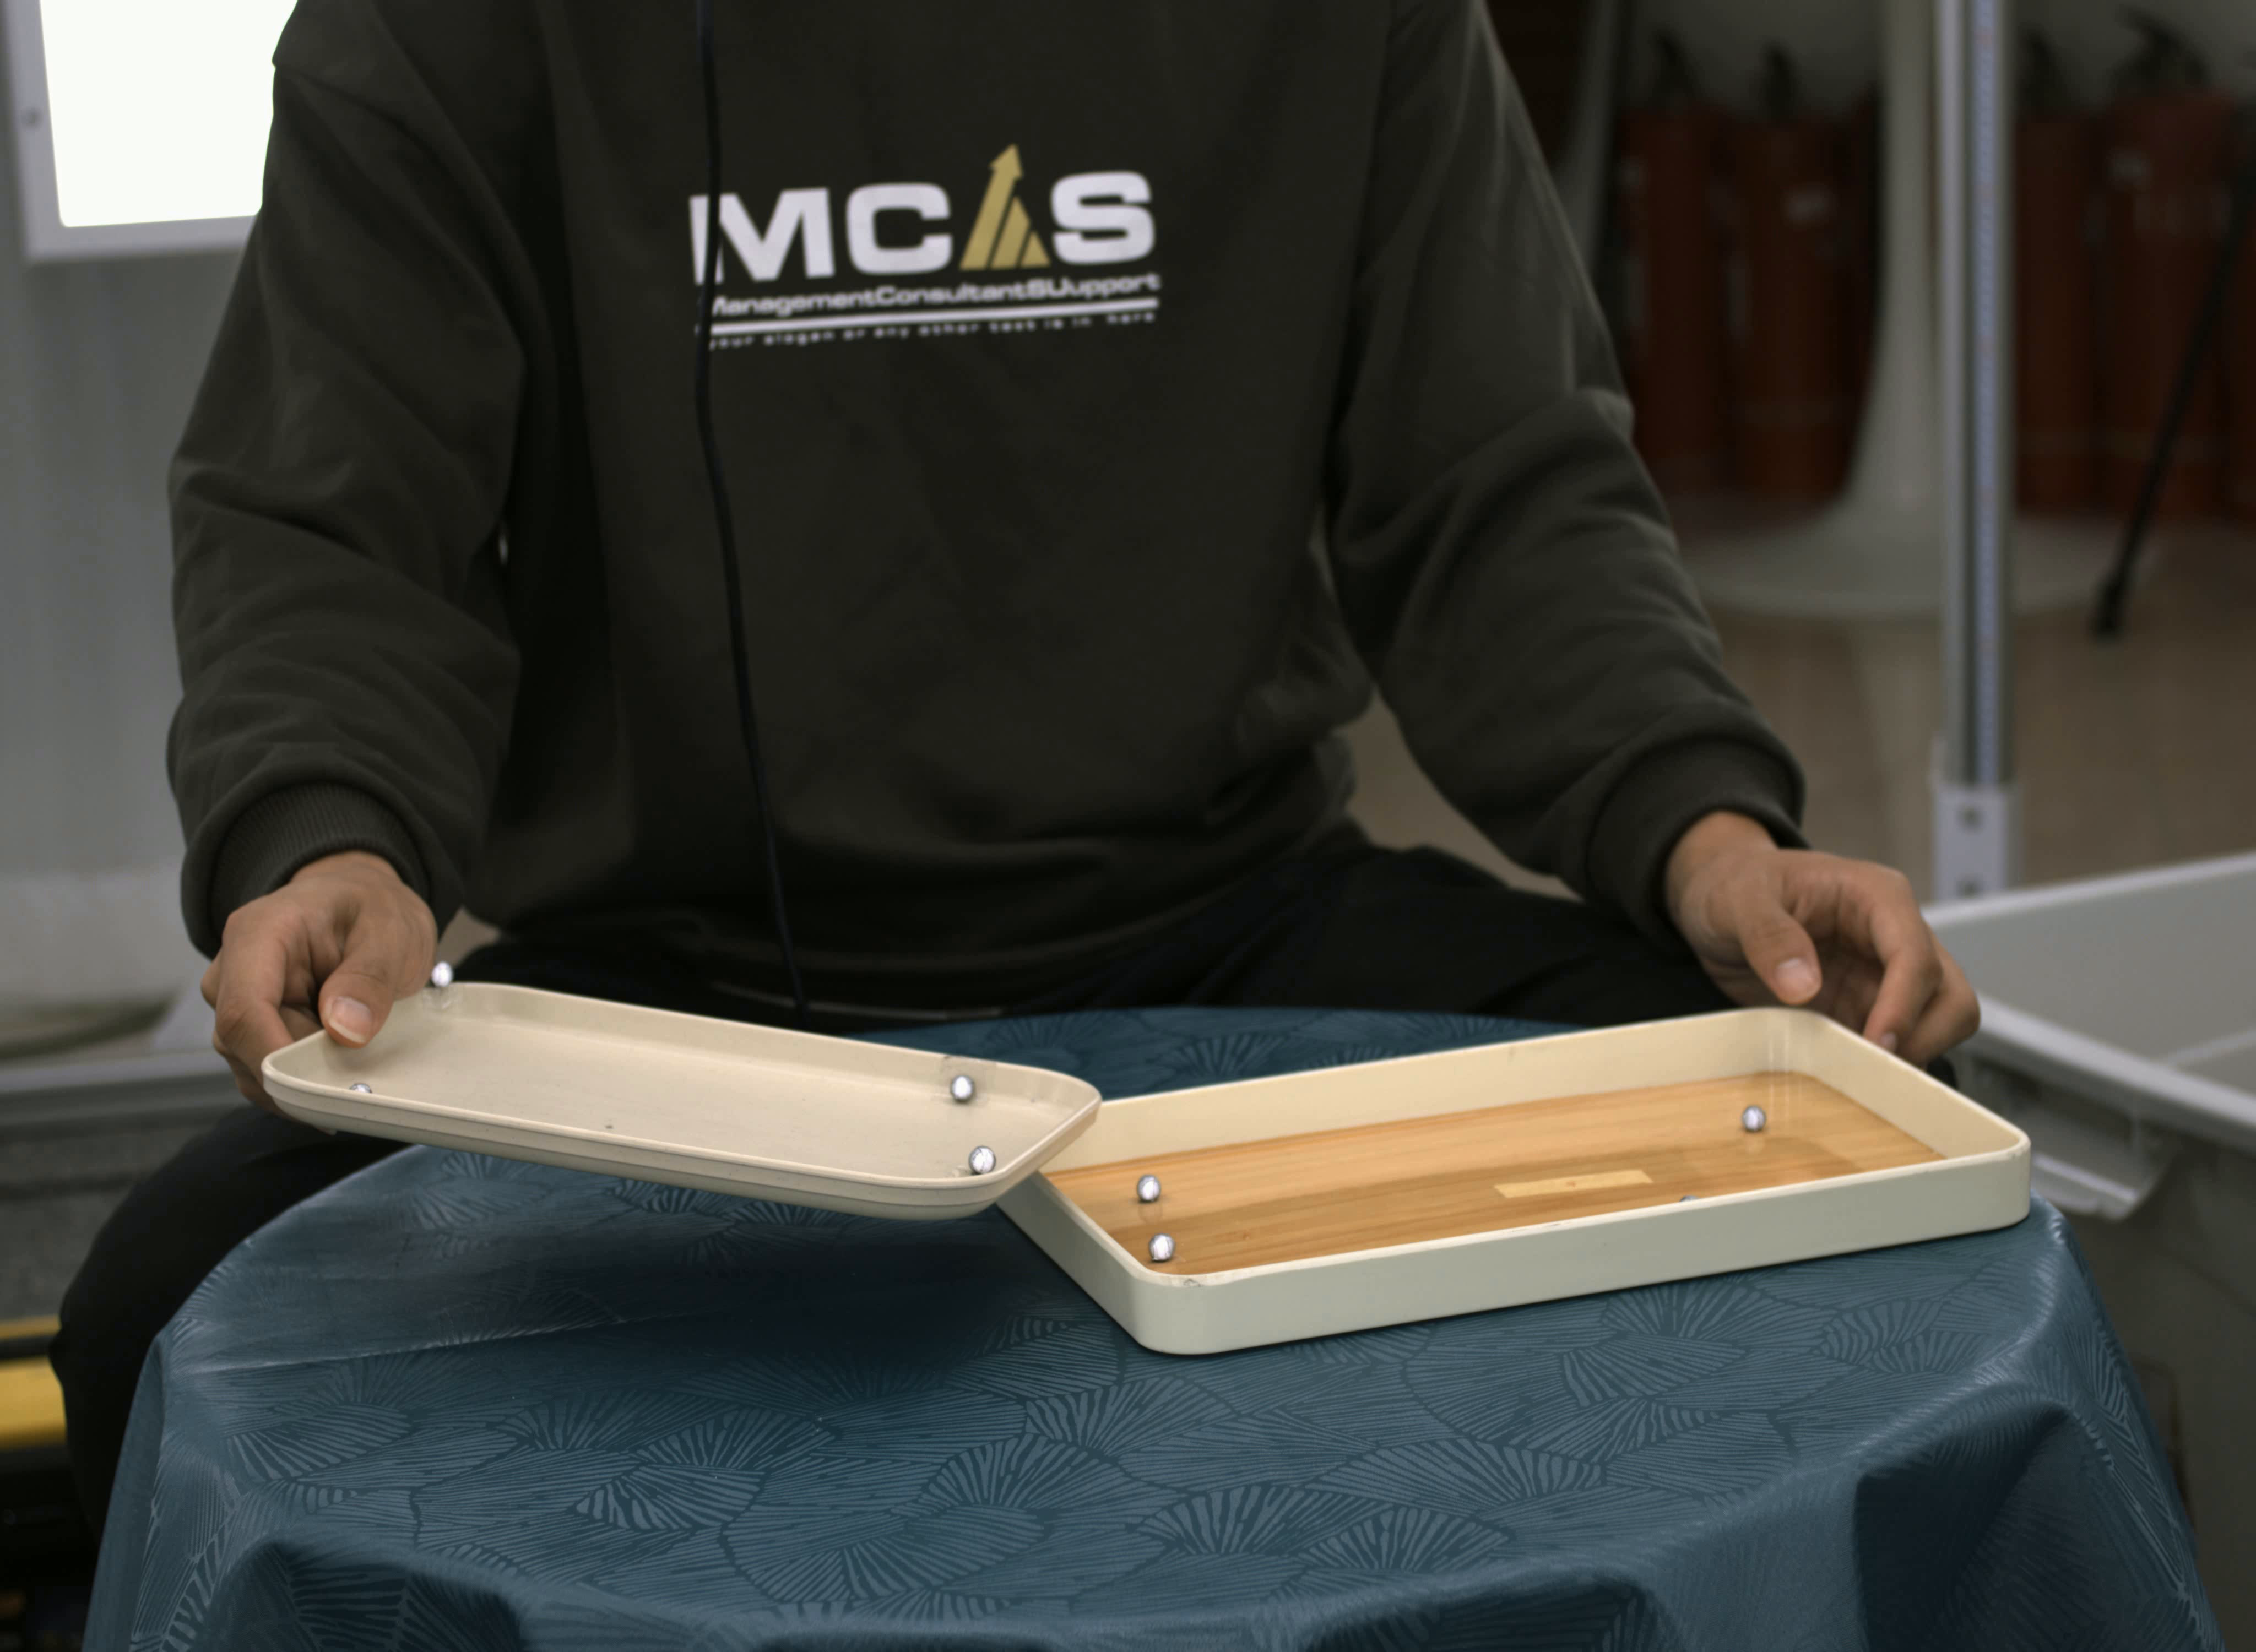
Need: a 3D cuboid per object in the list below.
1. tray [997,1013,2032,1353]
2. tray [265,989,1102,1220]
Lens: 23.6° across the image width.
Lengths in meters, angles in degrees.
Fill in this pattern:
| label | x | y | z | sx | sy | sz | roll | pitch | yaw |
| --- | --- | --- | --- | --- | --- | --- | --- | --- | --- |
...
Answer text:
| label | x | y | z | sx | sy | sz | roll | pitch | yaw |
| --- | --- | --- | --- | --- | --- | --- | --- | --- | --- |
| tray | 0.120 | 0.112 | 1.729 | 0.294 | 0.028 | 0.193 | -7 | 13 | -16 |
| tray | -0.136 | 0.086 | 1.683 | 0.239 | 0.018 | 0.170 | 8 | 10 | 15 |
